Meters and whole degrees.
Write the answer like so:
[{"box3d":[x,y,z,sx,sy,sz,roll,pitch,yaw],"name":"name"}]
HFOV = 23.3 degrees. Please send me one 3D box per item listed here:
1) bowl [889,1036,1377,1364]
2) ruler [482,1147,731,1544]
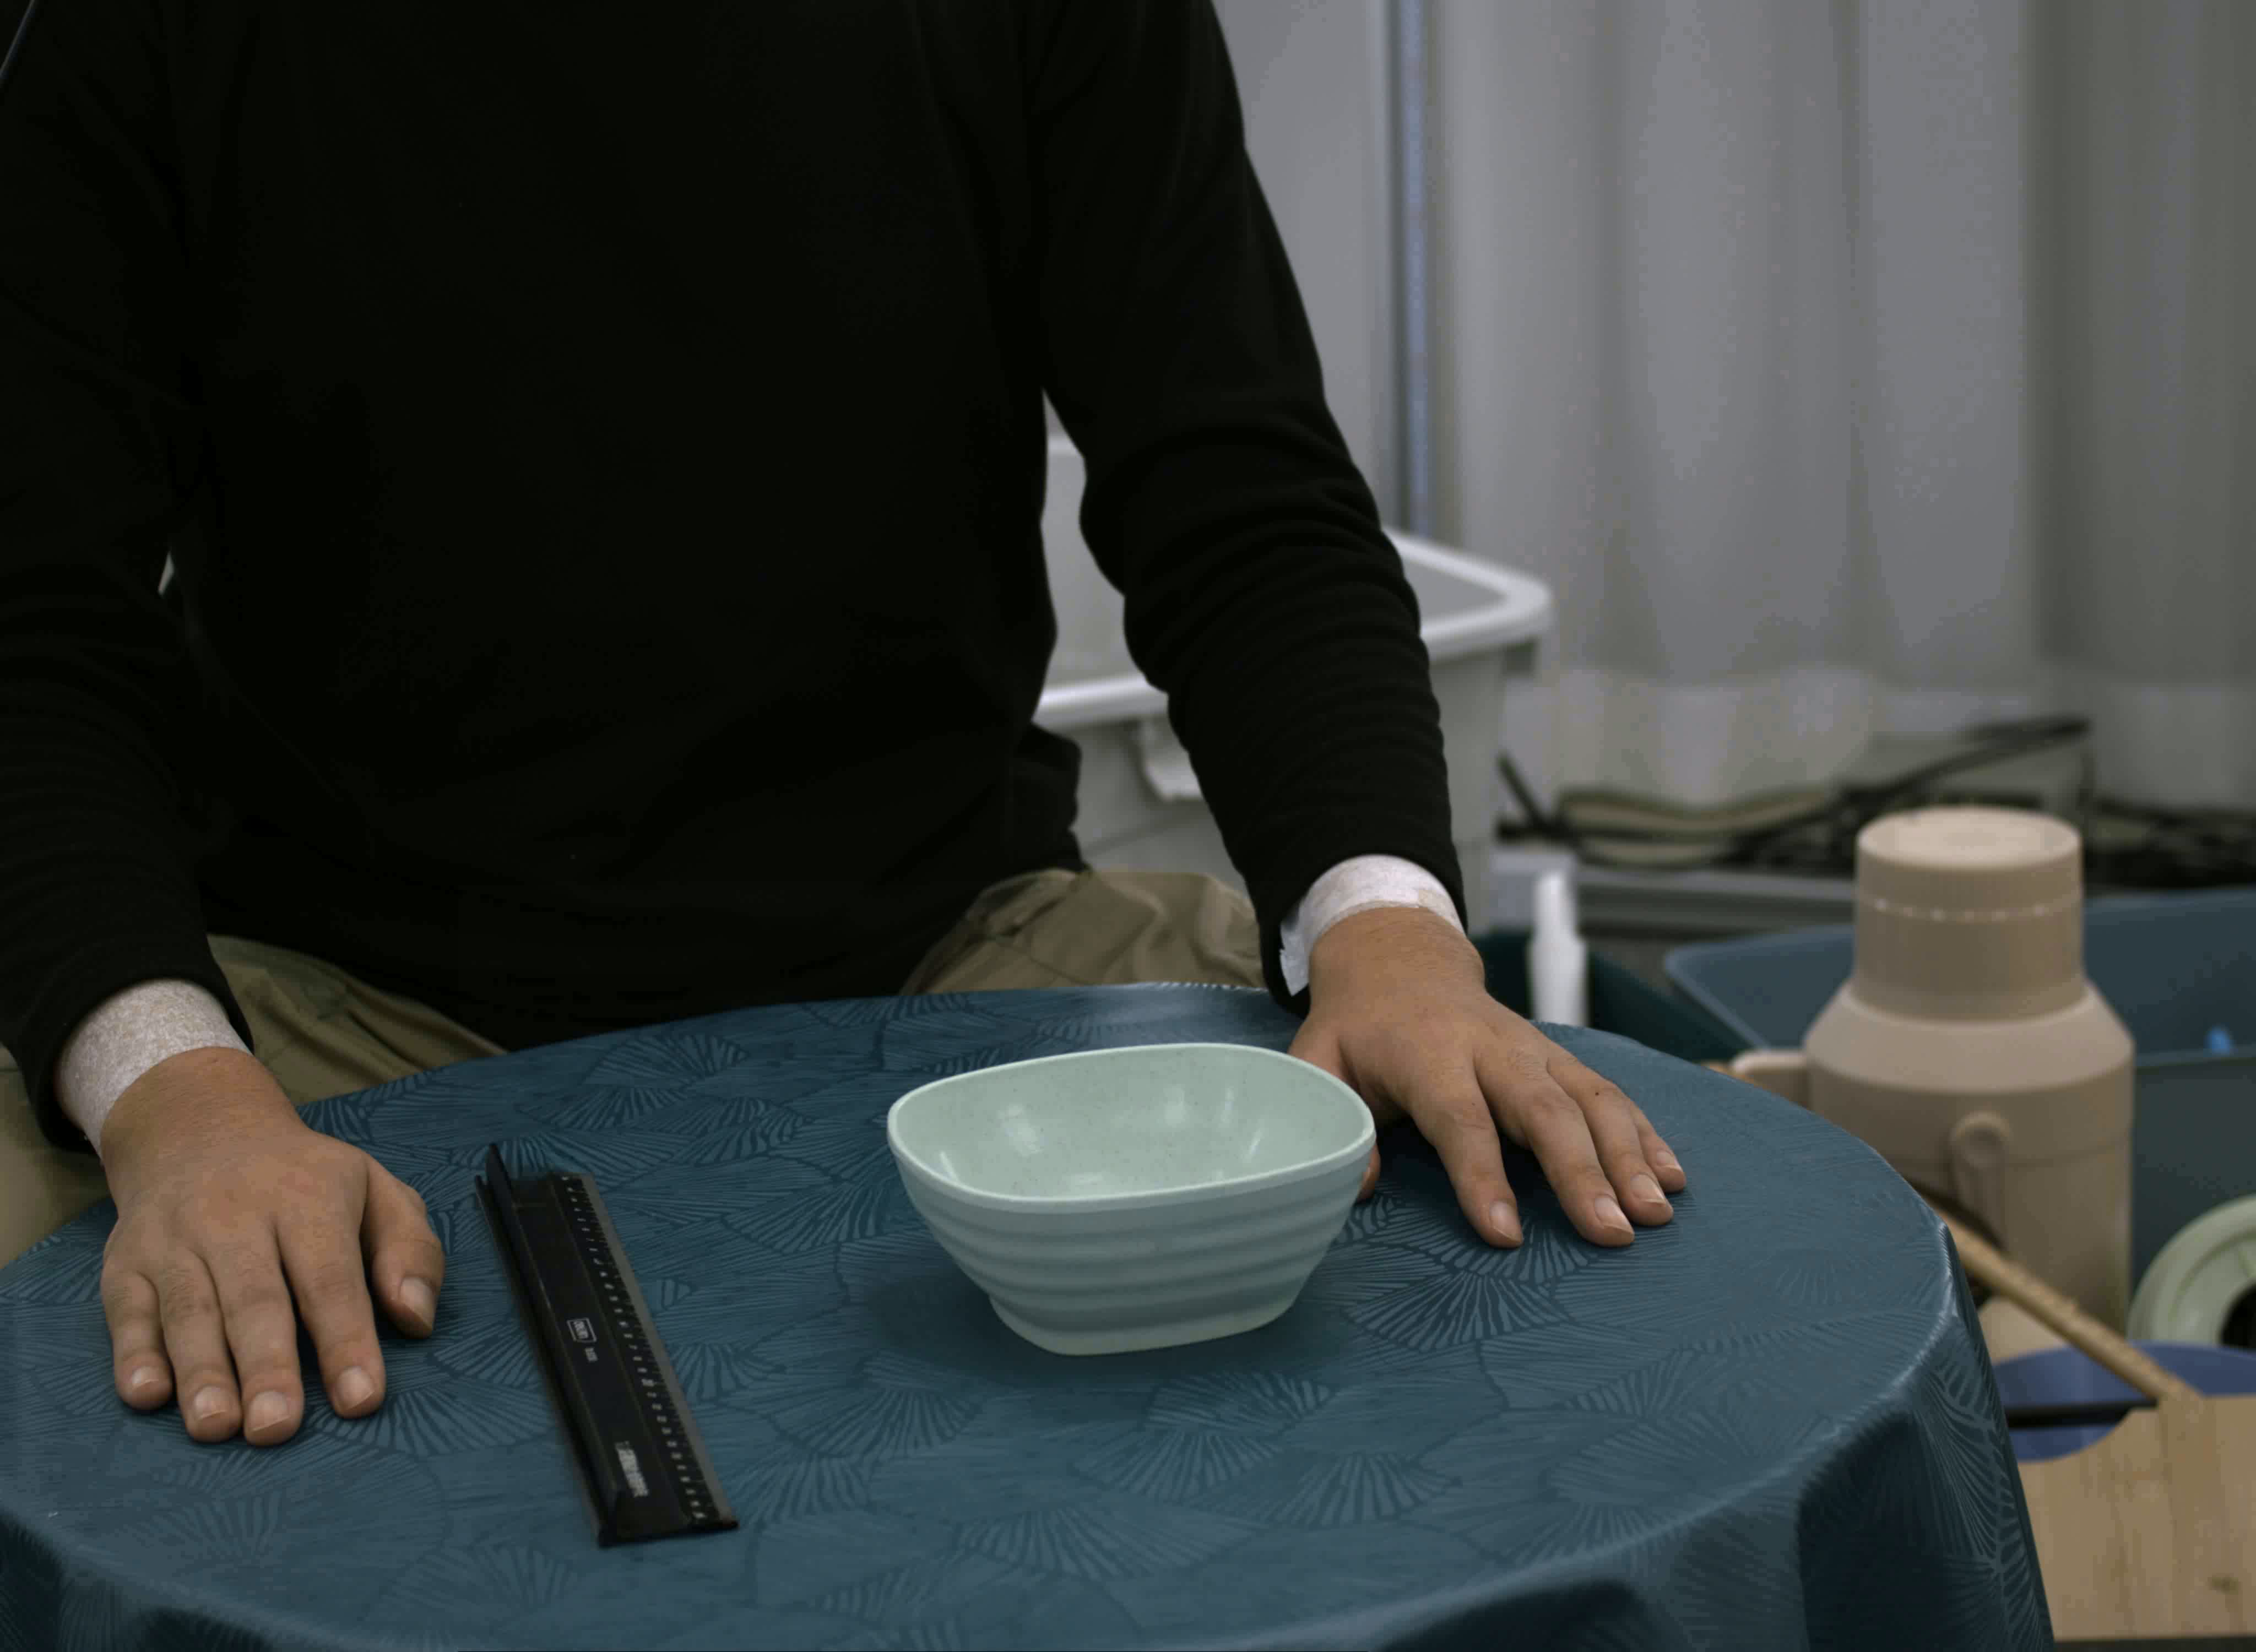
[{"box3d":[0.002,0.113,1.610,0.151,0.058,0.152,-3,17,1],"name":"bowl"},{"box3d":[-0.155,0.145,1.599,0.039,0.017,0.315,-2,14,-12],"name":"ruler"}]
